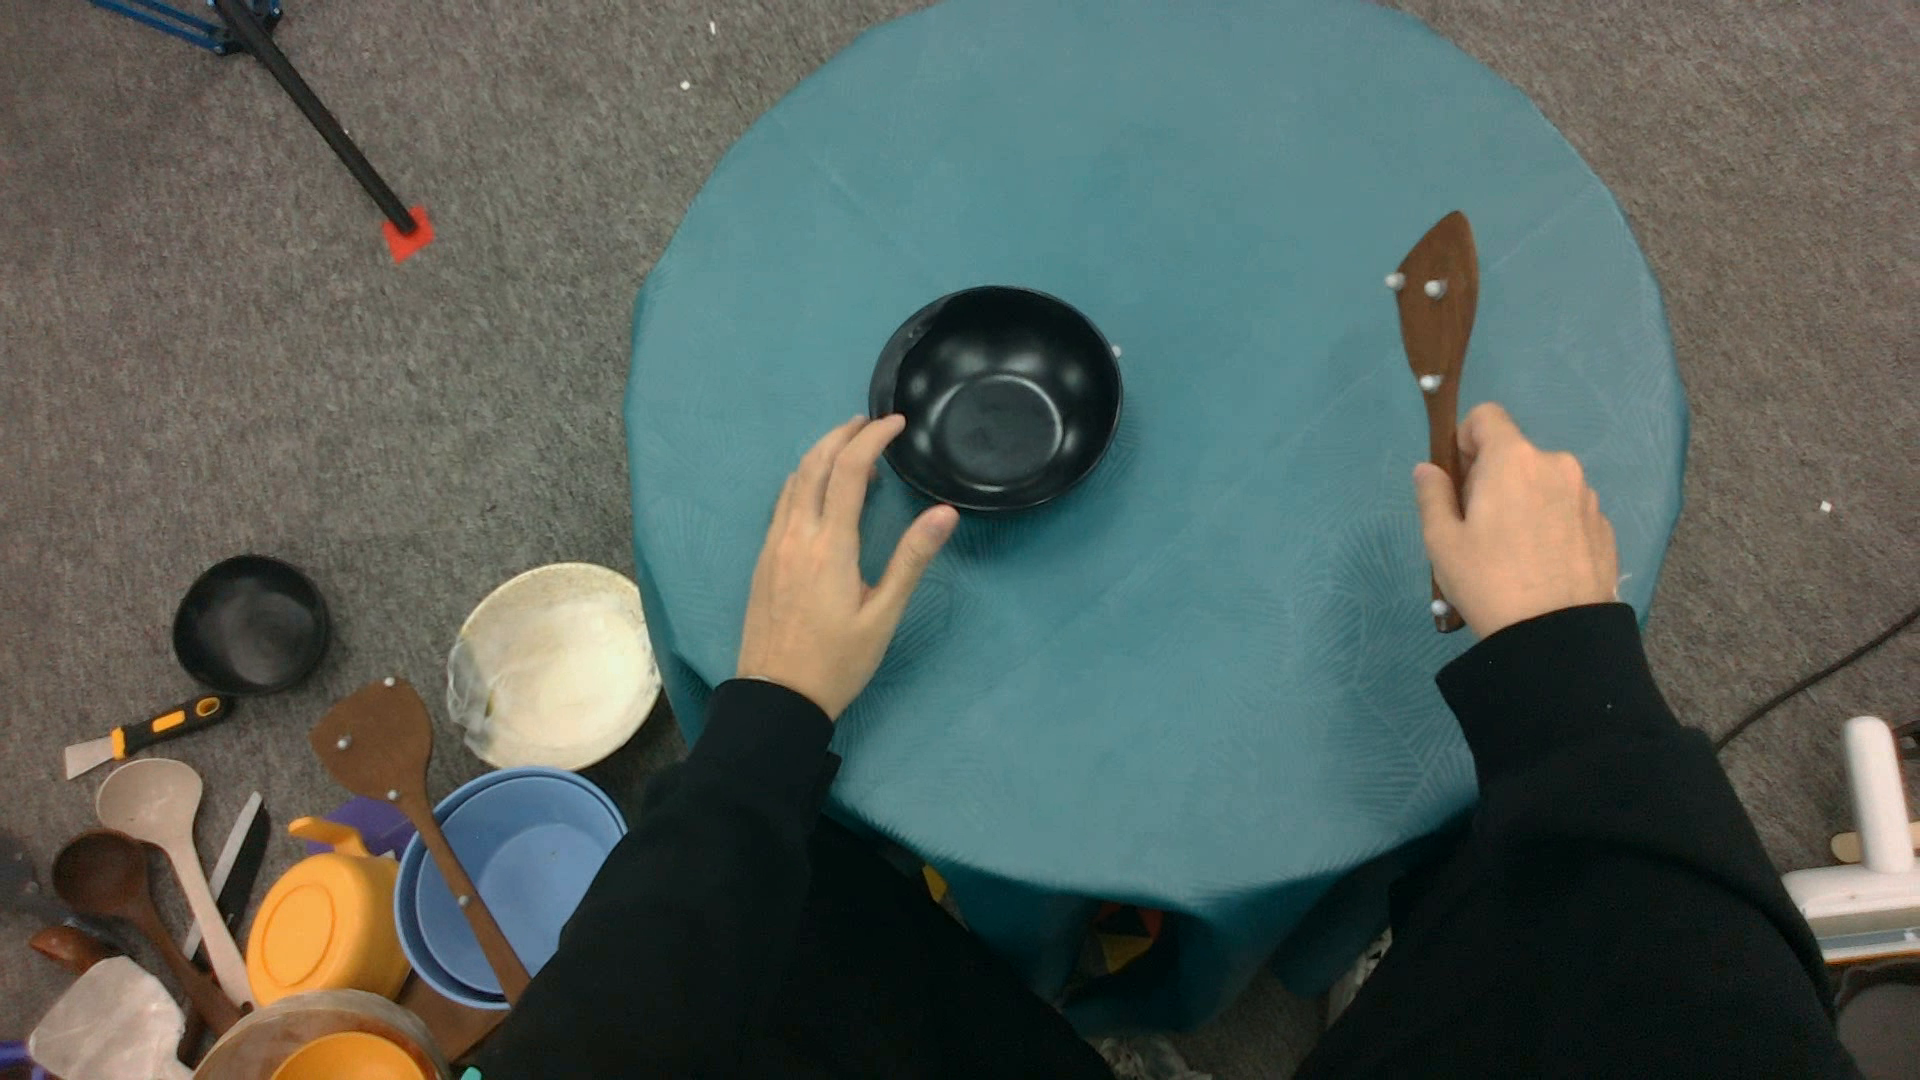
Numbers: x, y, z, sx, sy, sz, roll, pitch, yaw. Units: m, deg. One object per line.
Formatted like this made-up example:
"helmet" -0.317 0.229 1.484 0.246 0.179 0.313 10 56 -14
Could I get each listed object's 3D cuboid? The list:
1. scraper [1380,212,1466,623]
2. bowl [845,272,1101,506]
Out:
"scraper" 0.237 -0.061 0.699 0.011 0.075 0.212 8 72 -11
"bowl" 0.007 -0.077 0.763 0.140 0.049 0.140 0 68 1
